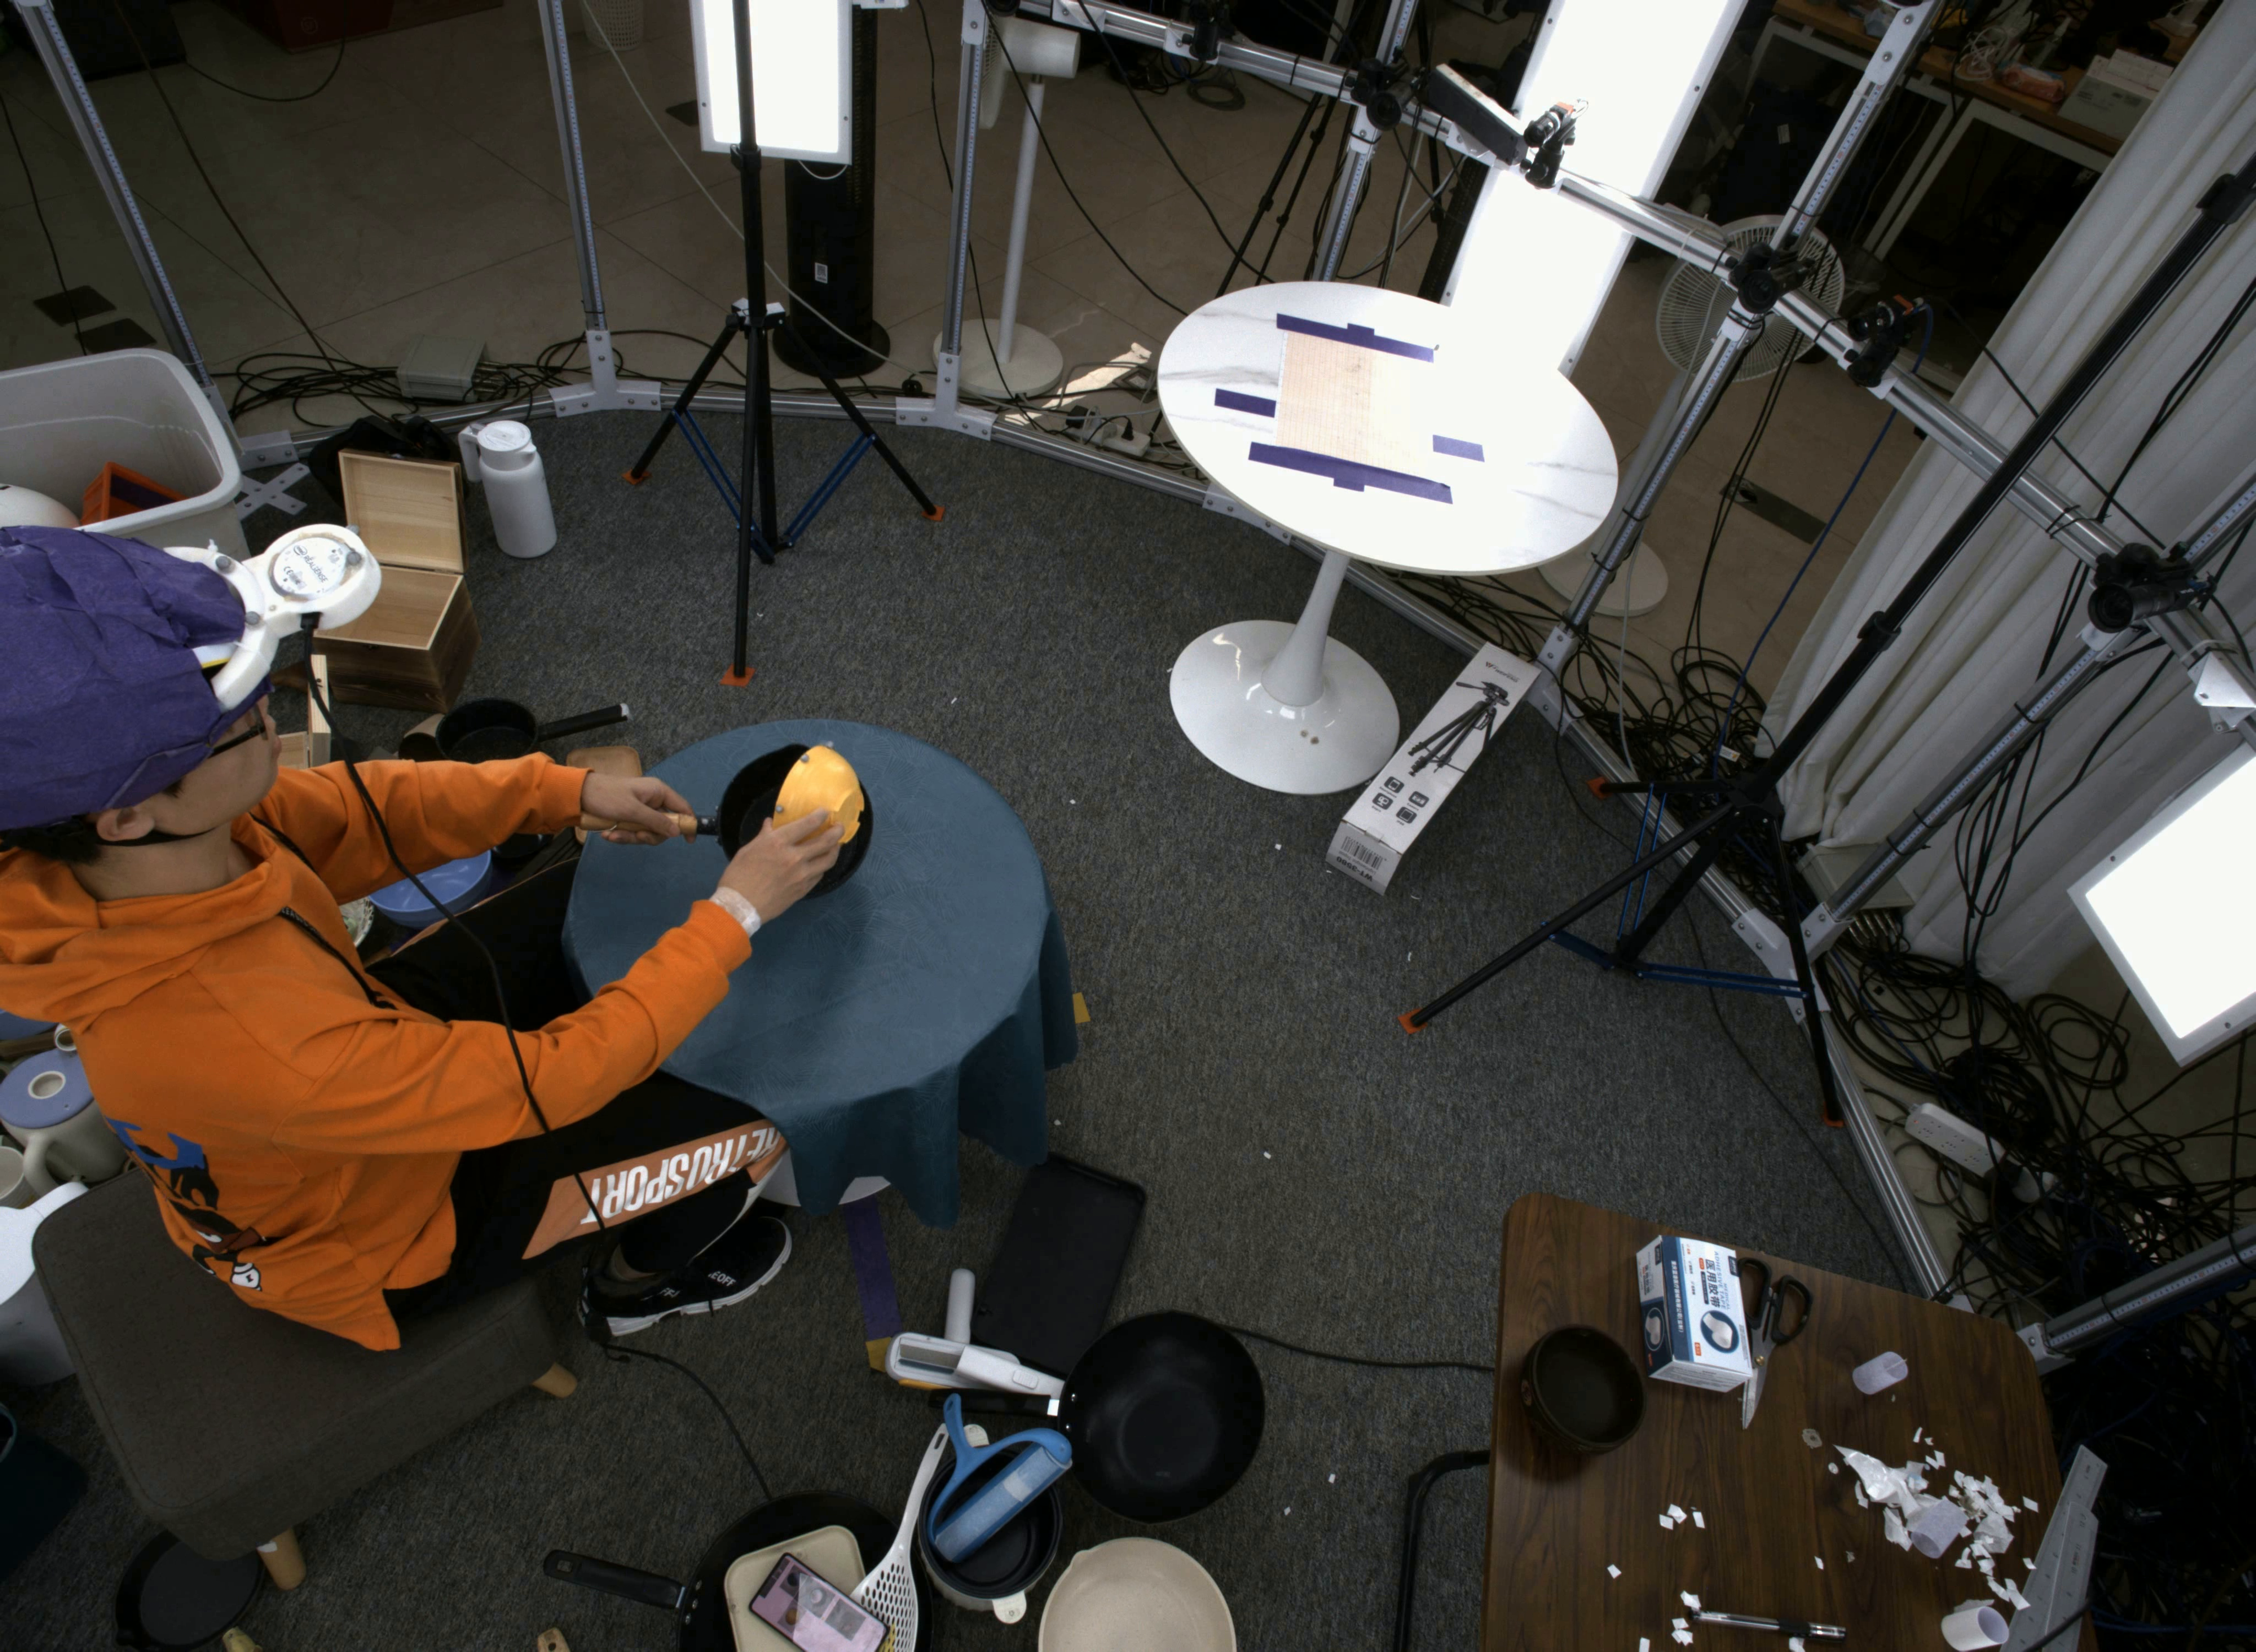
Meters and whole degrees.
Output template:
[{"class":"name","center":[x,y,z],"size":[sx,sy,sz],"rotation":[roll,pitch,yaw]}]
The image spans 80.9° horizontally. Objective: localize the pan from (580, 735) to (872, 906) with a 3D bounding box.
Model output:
[{"class":"pan","center":[-0.483,0.000,1.554],"size":[0.344,0.108,0.207],"rotation":[-2,77,-17]}]

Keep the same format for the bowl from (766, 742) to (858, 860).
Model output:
[{"class":"bowl","center":[-0.359,-0.021,1.521],"size":[0.059,0.149,0.144],"rotation":[20,50,12]}]
